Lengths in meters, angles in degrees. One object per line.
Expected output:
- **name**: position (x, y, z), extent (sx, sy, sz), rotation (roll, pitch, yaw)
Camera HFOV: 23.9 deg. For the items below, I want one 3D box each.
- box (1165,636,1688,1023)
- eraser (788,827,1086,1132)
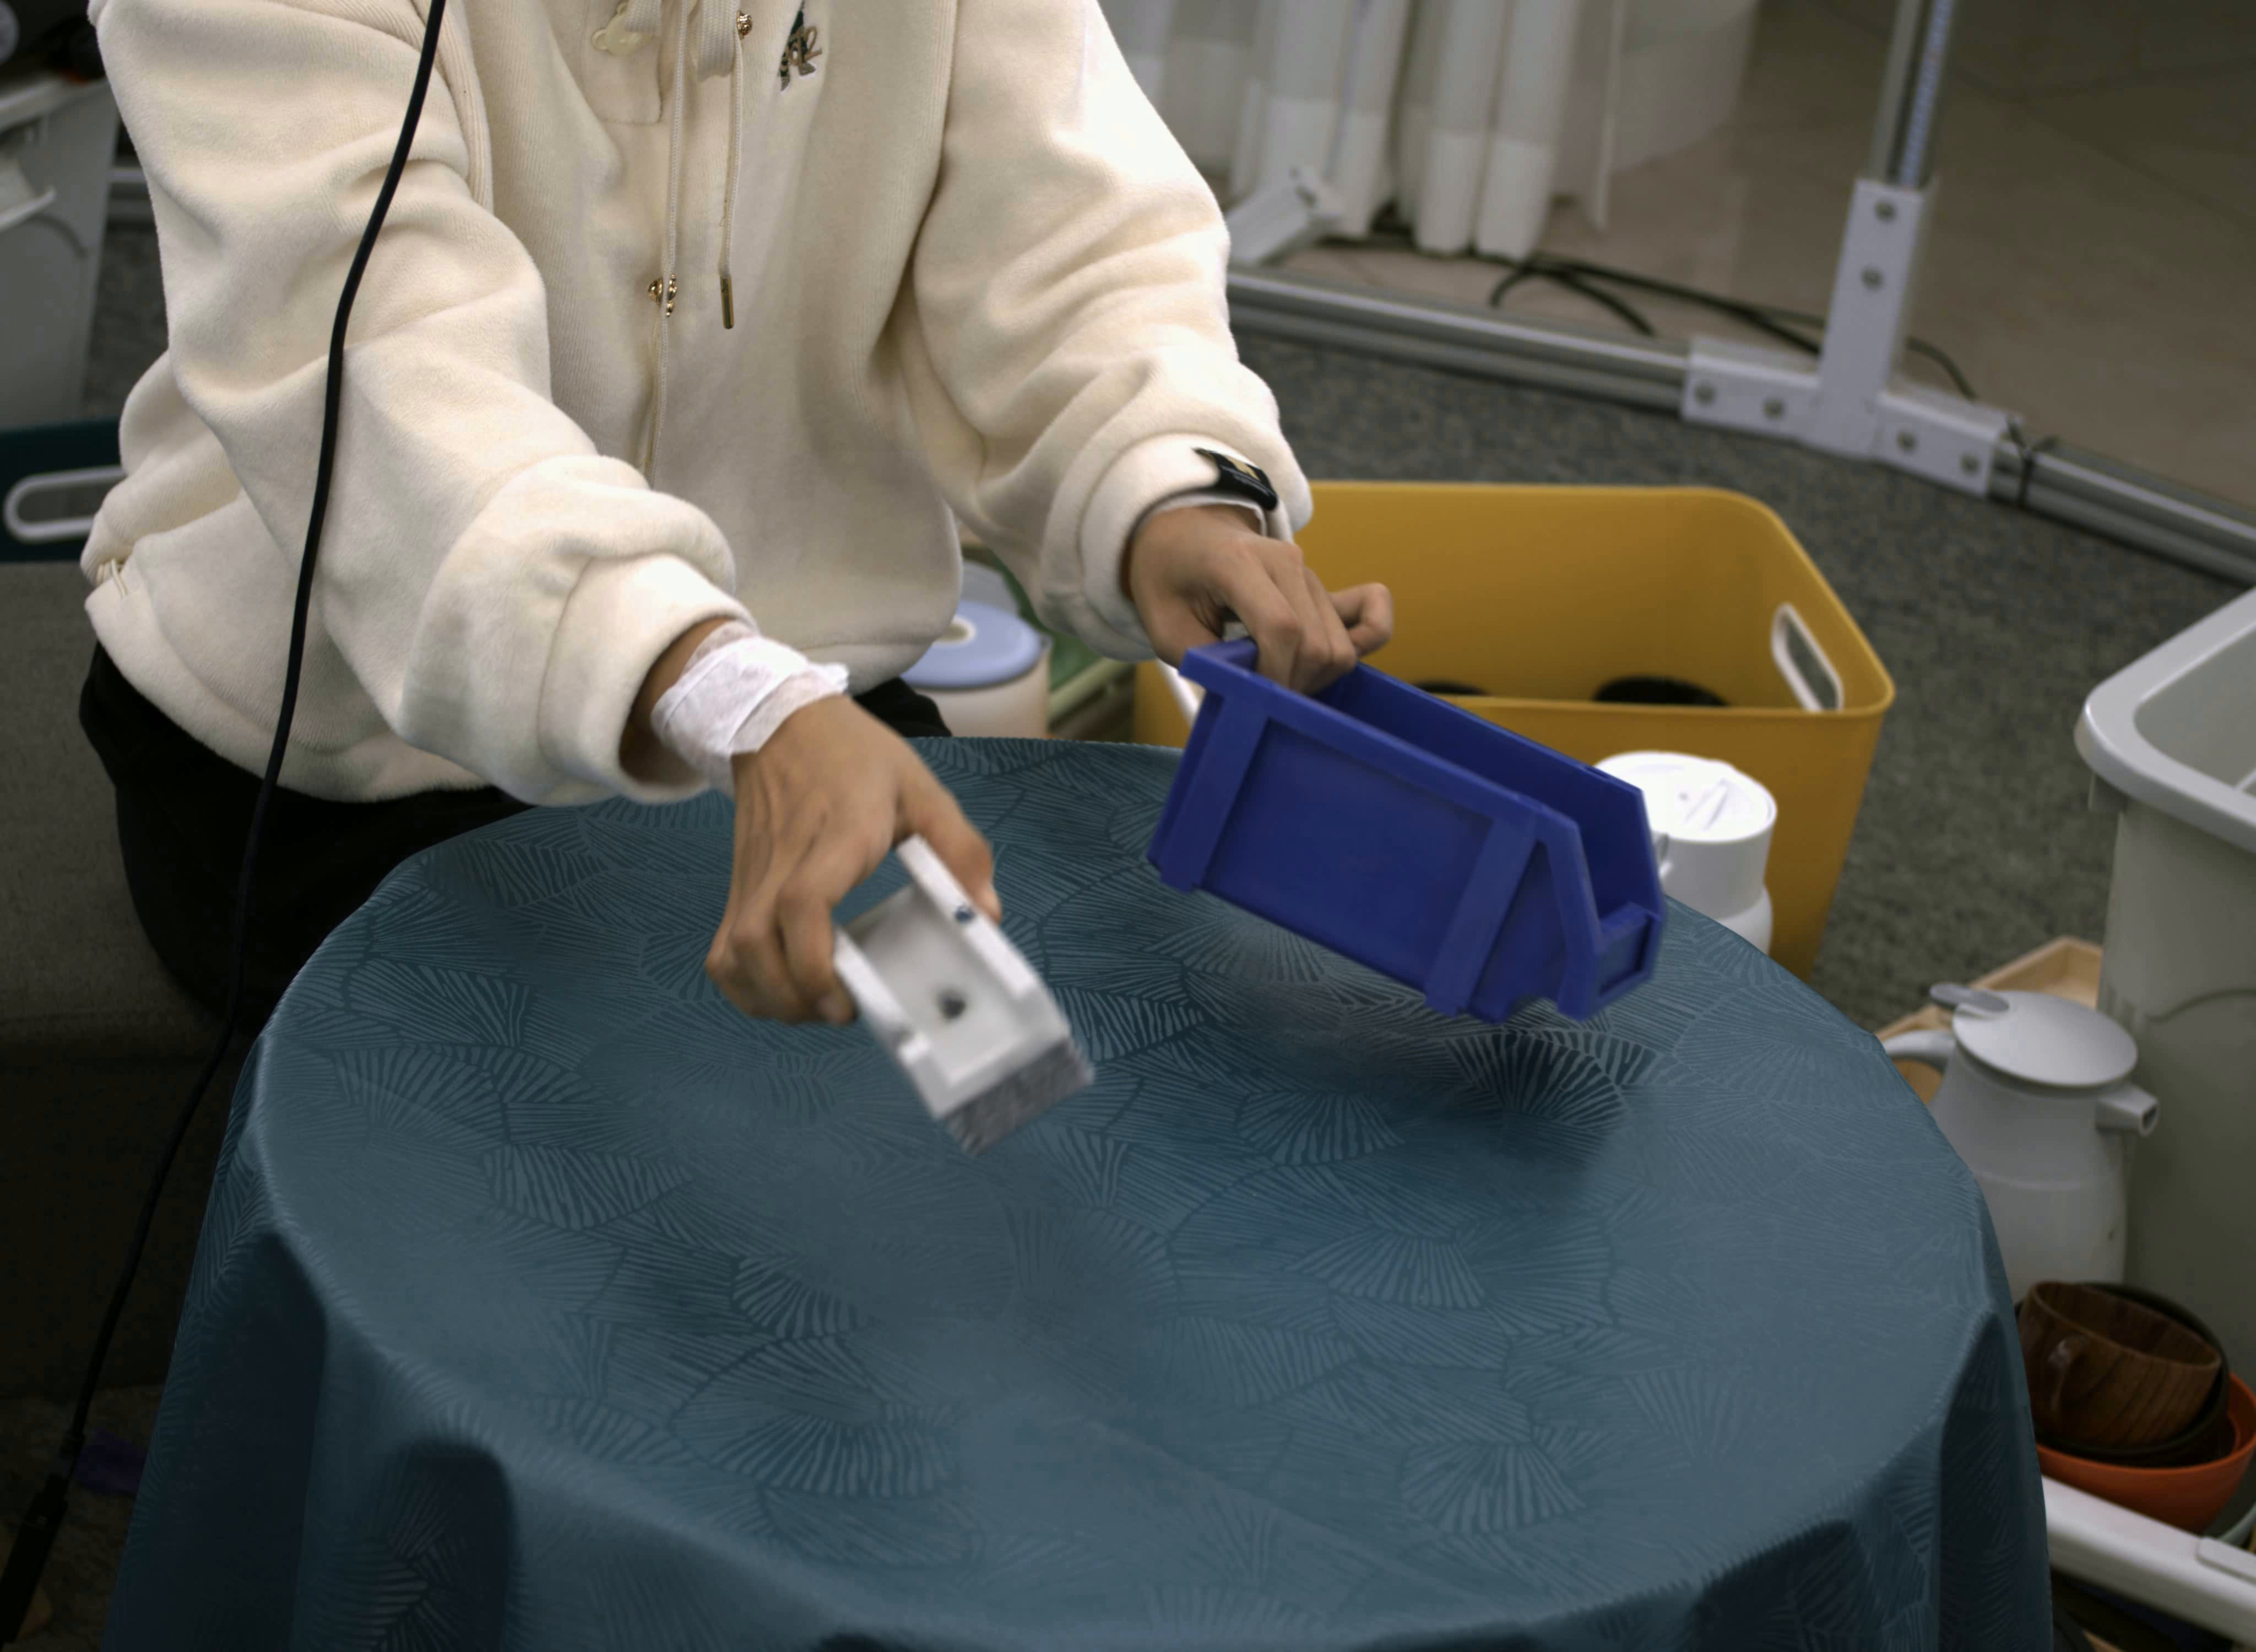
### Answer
- **box**: position (0.110, 0.005, 1.893), extent (0.180, 0.082, 0.124), rotation (23, 11, 16)
- **eraser**: position (-0.060, 0.047, 1.676), extent (0.049, 0.046, 0.135), rotation (-36, 26, -7)
